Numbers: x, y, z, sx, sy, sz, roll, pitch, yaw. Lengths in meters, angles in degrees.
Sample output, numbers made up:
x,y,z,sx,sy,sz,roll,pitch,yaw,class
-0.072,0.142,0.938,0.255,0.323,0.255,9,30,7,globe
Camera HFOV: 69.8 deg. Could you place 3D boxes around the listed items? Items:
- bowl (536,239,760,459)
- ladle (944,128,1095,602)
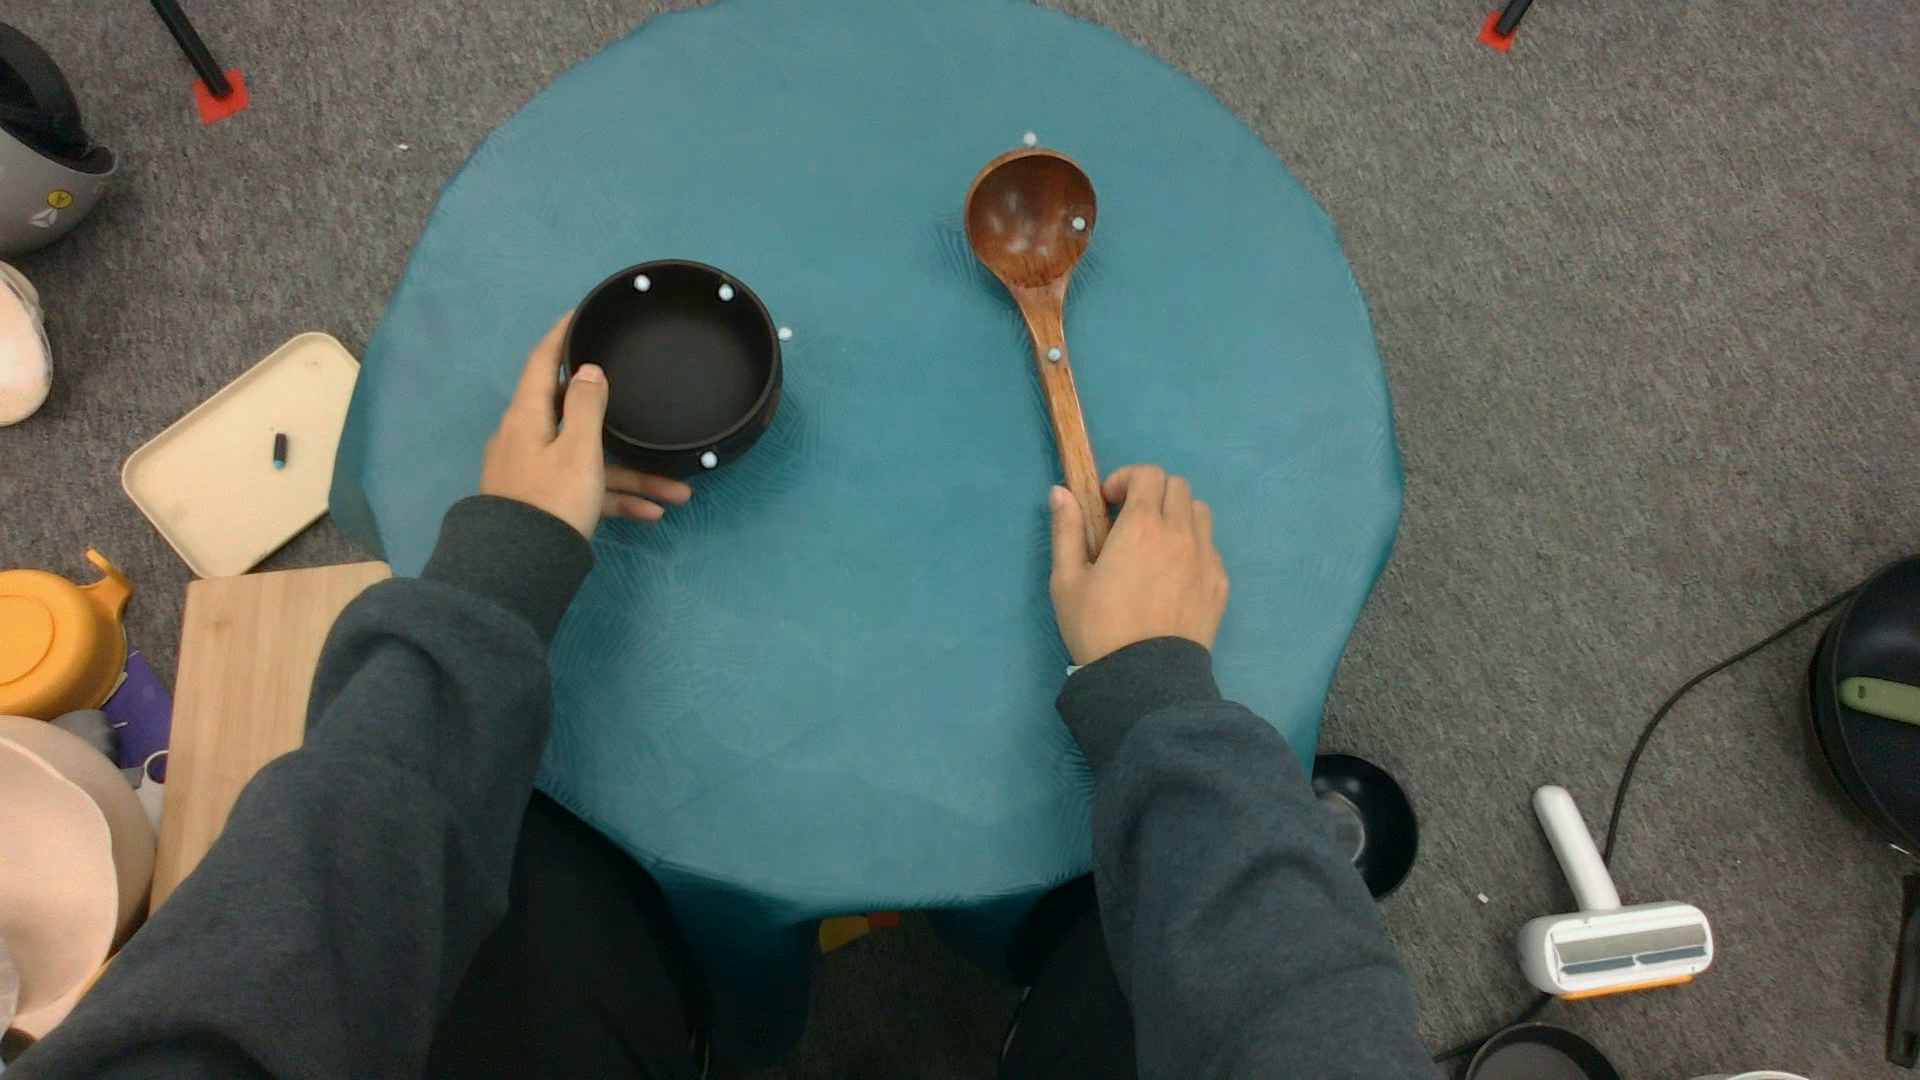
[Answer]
x,y,z,sx,sy,sz,roll,pitch,yaw,class
-0.169,-0.099,0.761,0.118,0.069,0.118,2,70,-6,bowl
0.048,-0.105,0.784,0.082,0.076,0.274,-9,72,-3,ladle
